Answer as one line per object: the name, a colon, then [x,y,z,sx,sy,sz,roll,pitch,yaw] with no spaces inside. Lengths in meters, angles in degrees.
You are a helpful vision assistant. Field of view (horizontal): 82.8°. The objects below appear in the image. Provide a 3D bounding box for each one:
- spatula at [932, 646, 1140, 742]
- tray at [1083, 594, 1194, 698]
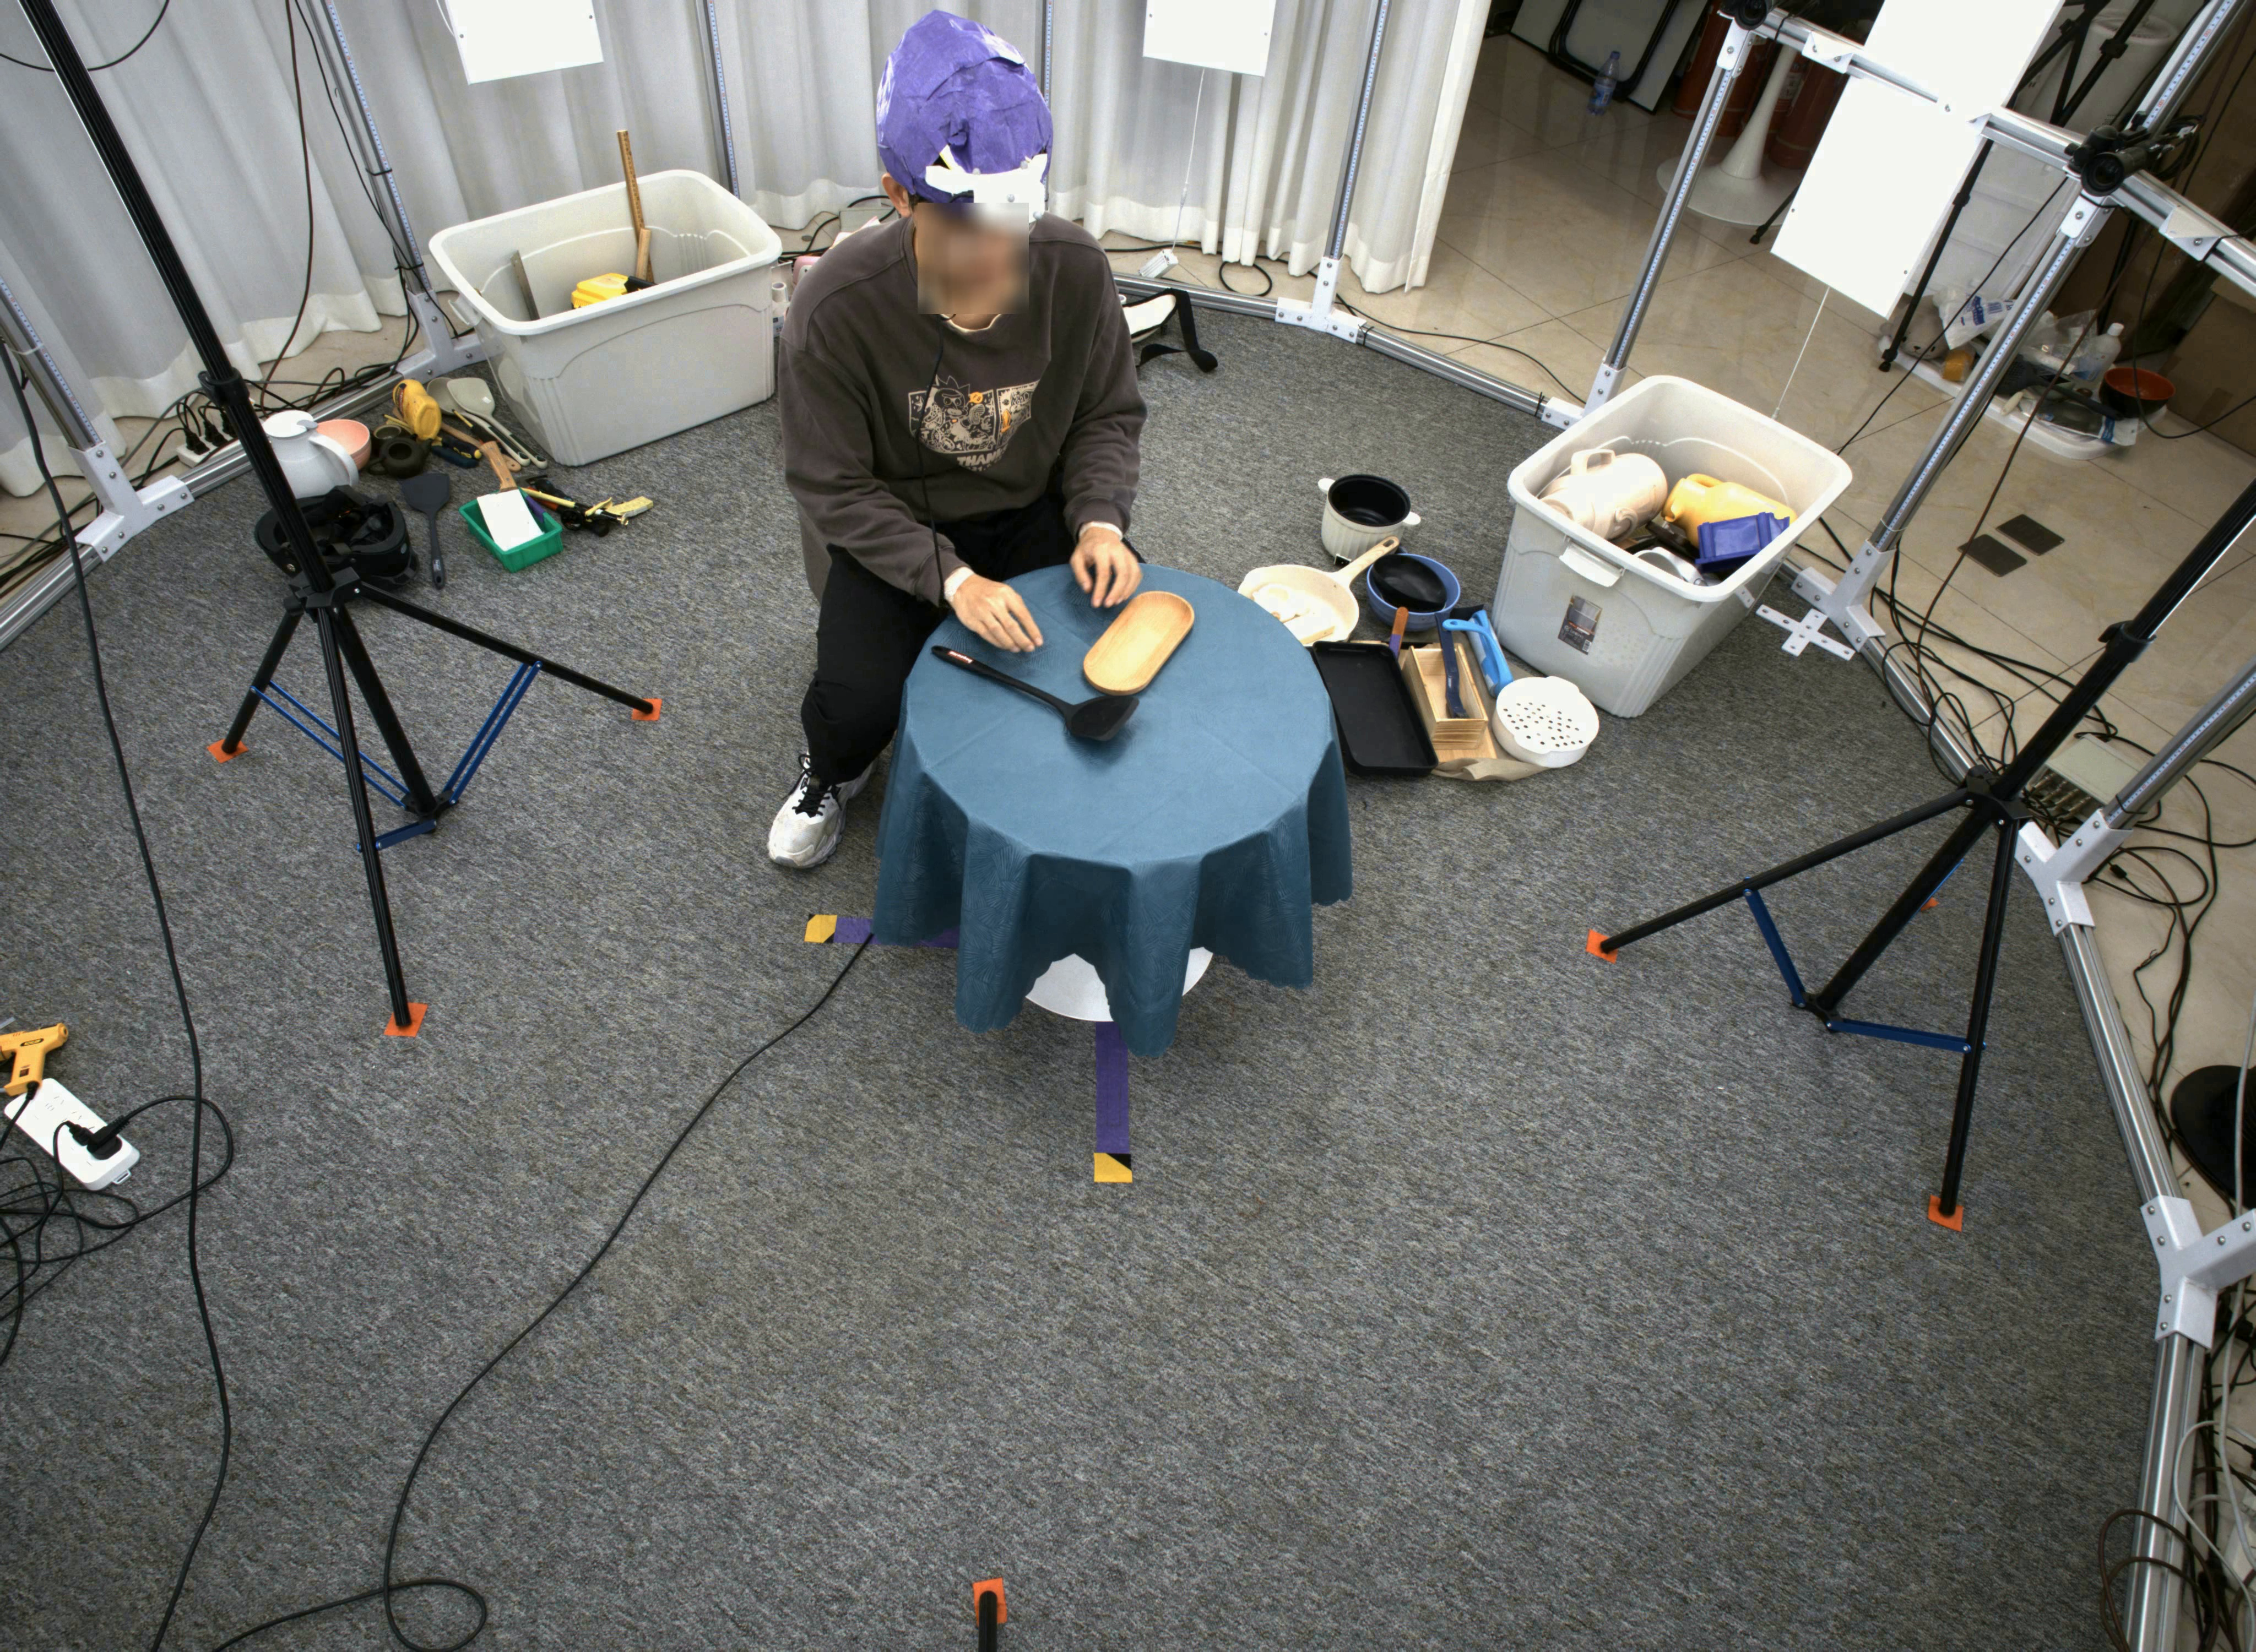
spatula: [-0.142,-0.198,1.806,0.329,0.039,0.101,26,51,18]
tray: [0.017,-0.267,1.889,0.102,0.020,0.235,23,53,16]
